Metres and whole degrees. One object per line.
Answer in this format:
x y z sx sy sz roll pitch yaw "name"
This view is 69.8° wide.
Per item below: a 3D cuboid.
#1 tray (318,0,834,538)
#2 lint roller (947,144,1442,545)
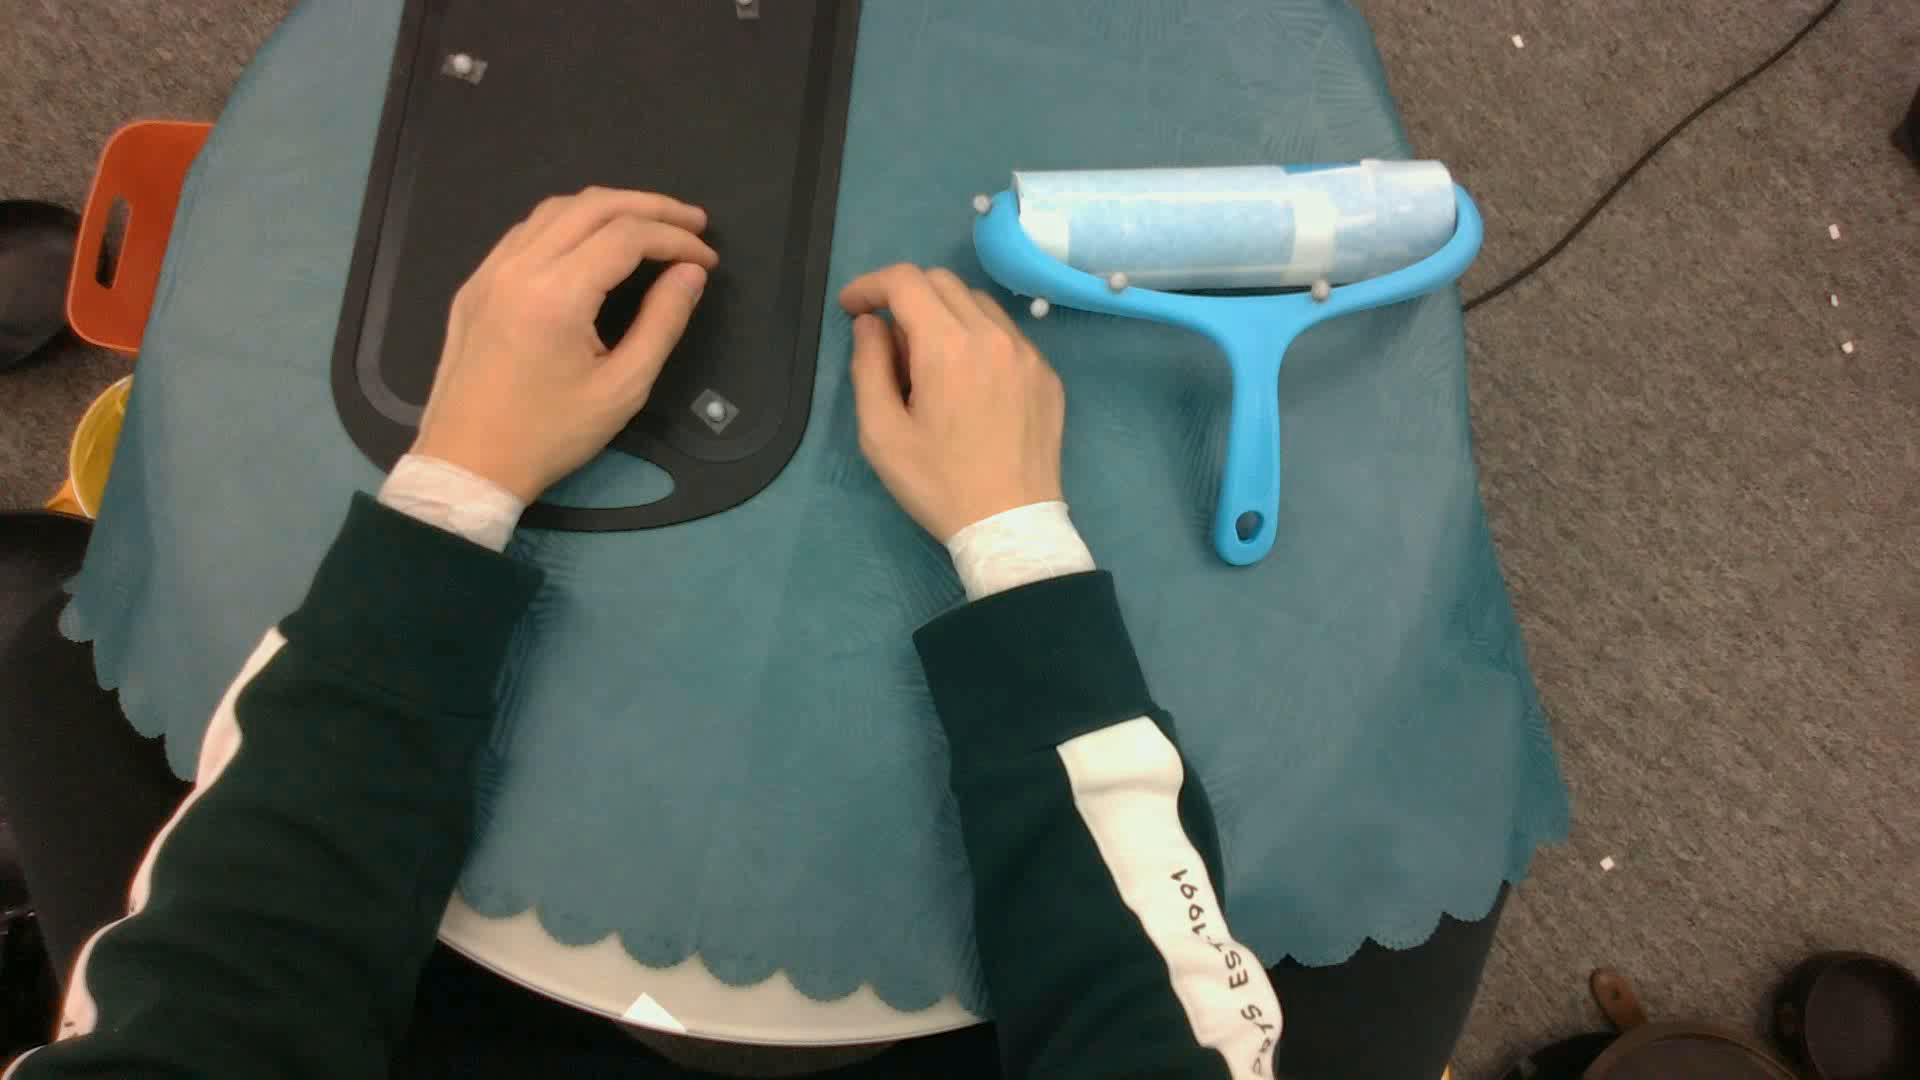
-0.173 -0.160 0.639 0.211 0.010 0.326 5 77 -3 "tray"
0.116 -0.092 0.621 0.229 0.068 0.180 -7 77 -8 "lint roller"
